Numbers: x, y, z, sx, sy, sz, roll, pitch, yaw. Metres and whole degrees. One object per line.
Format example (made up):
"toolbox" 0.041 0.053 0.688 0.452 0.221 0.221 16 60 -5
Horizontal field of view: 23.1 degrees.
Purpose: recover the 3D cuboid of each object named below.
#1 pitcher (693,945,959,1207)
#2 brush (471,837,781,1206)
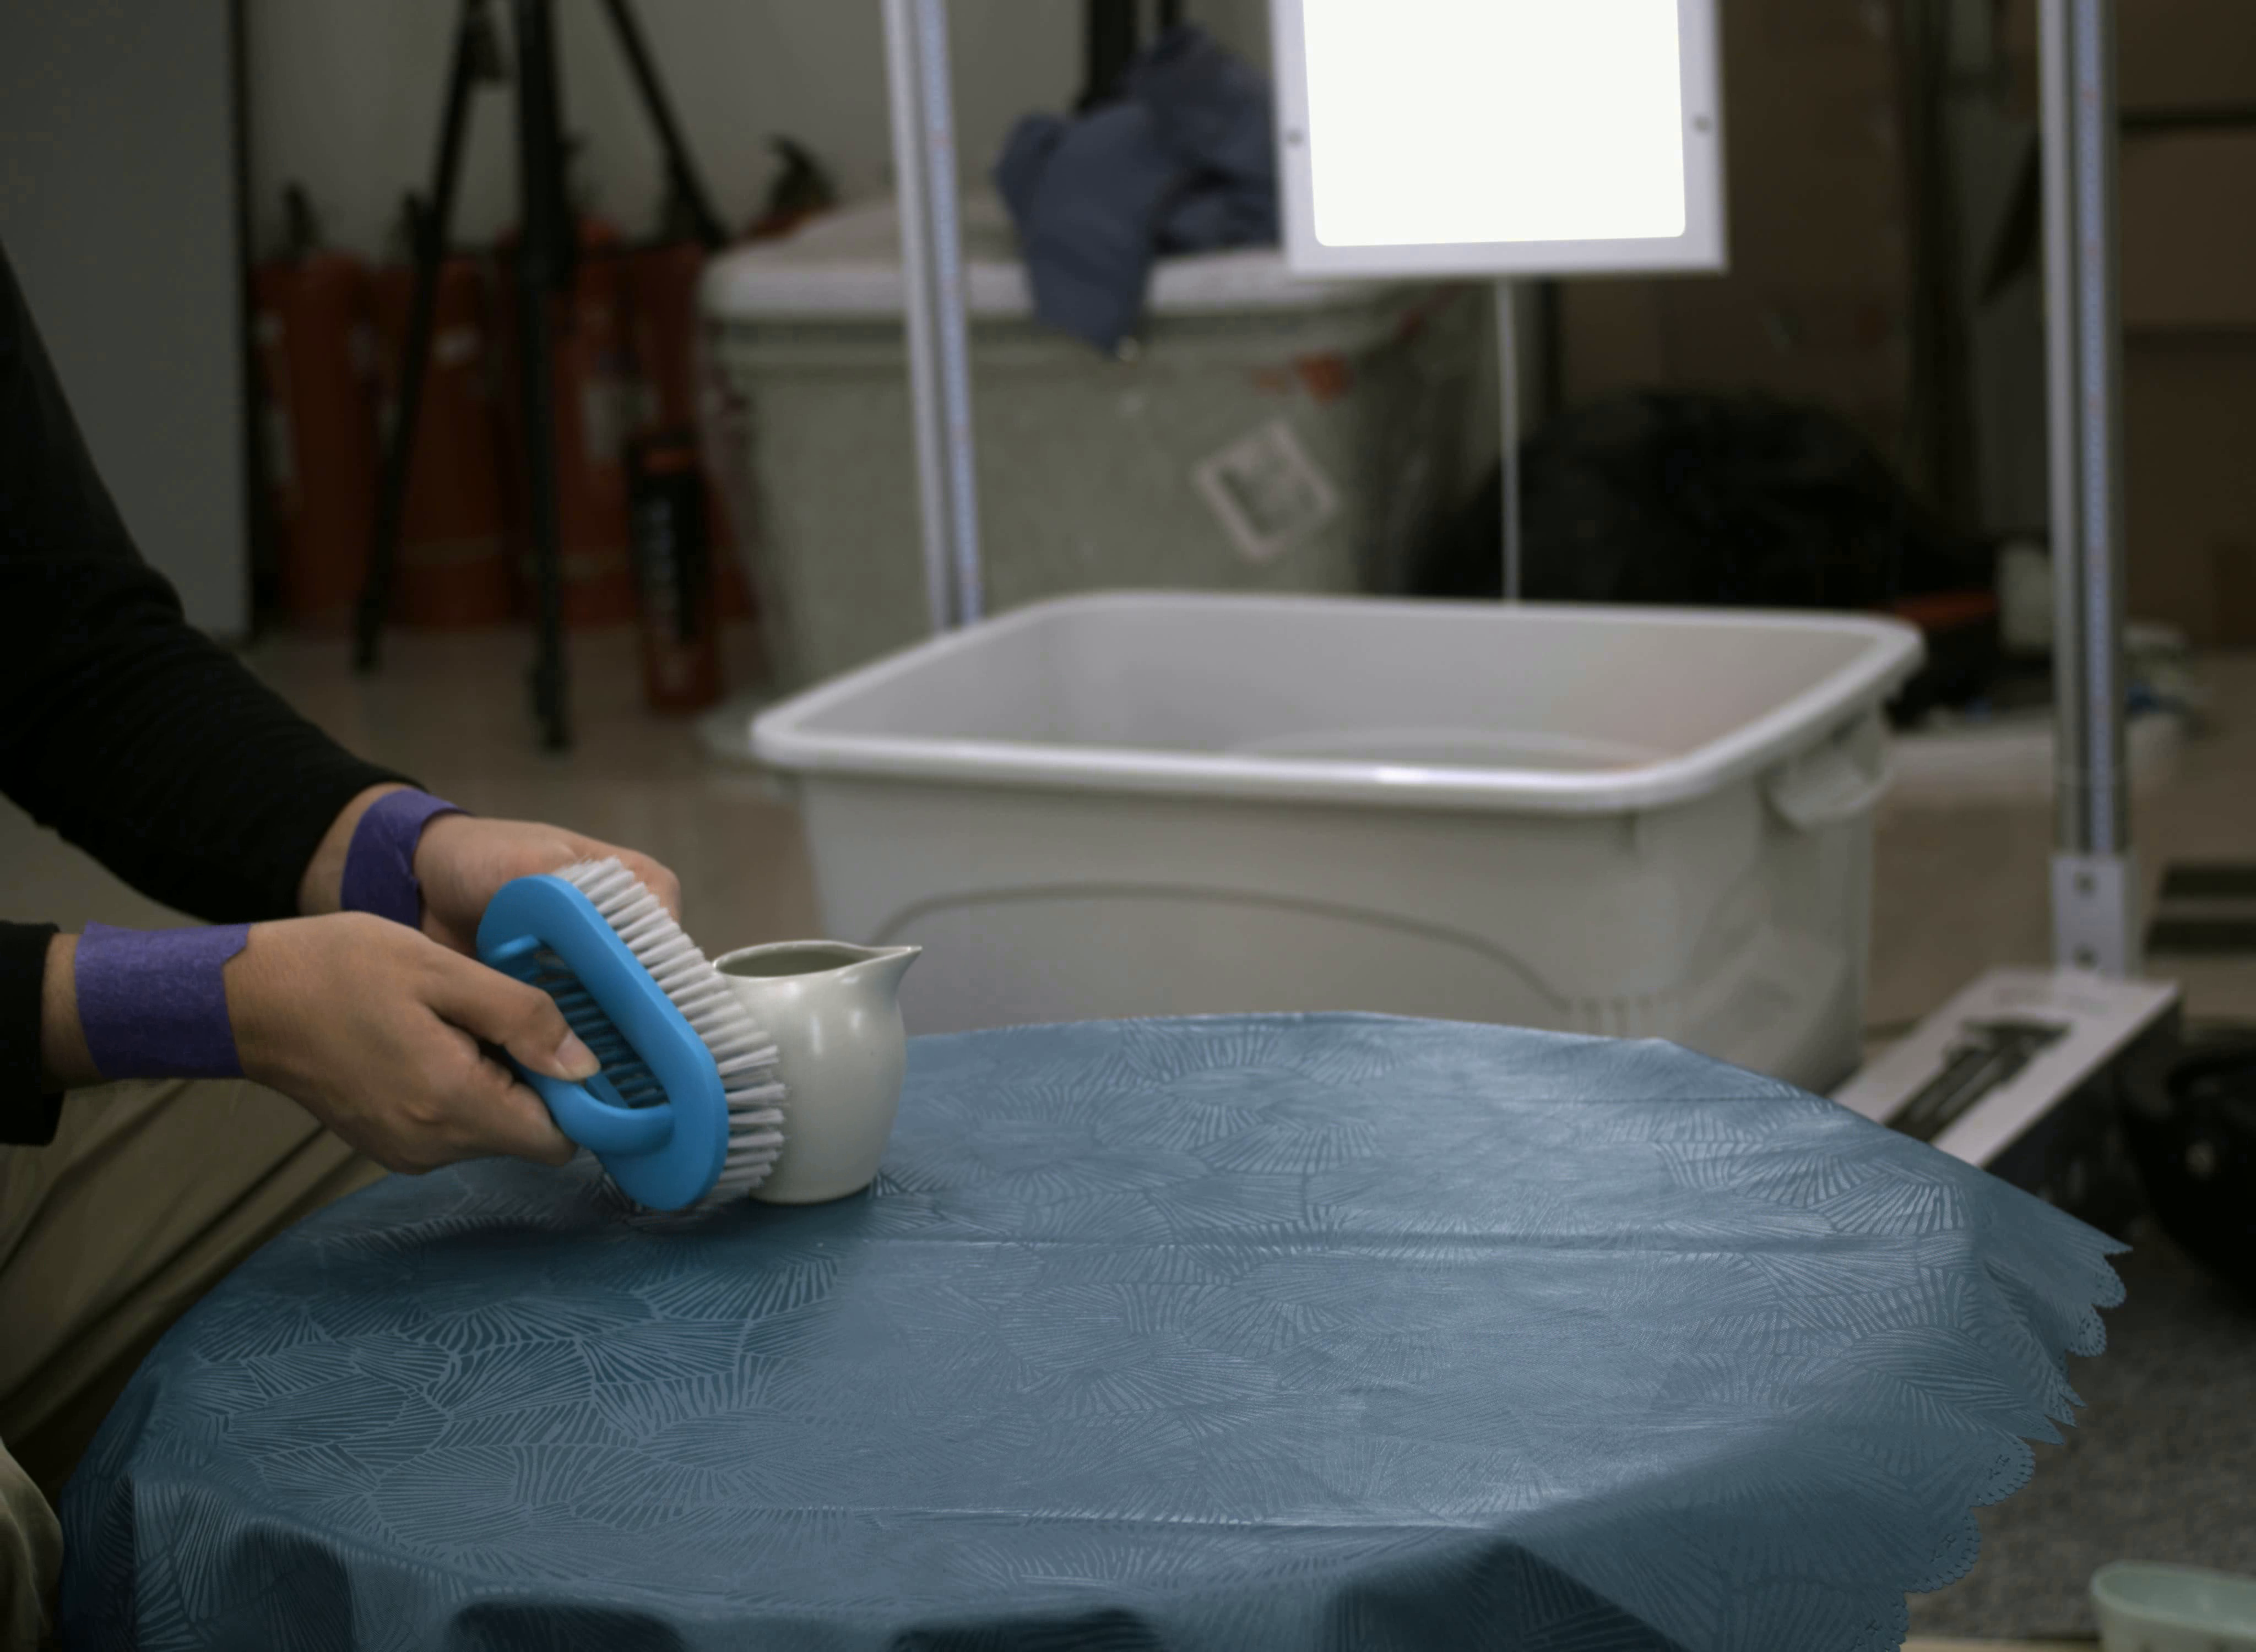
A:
"pitcher" -0.114 0.084 1.925 0.121 0.088 0.074 6 11 25
"brush" -0.183 0.073 1.897 0.062 0.085 0.143 -15 55 -38
